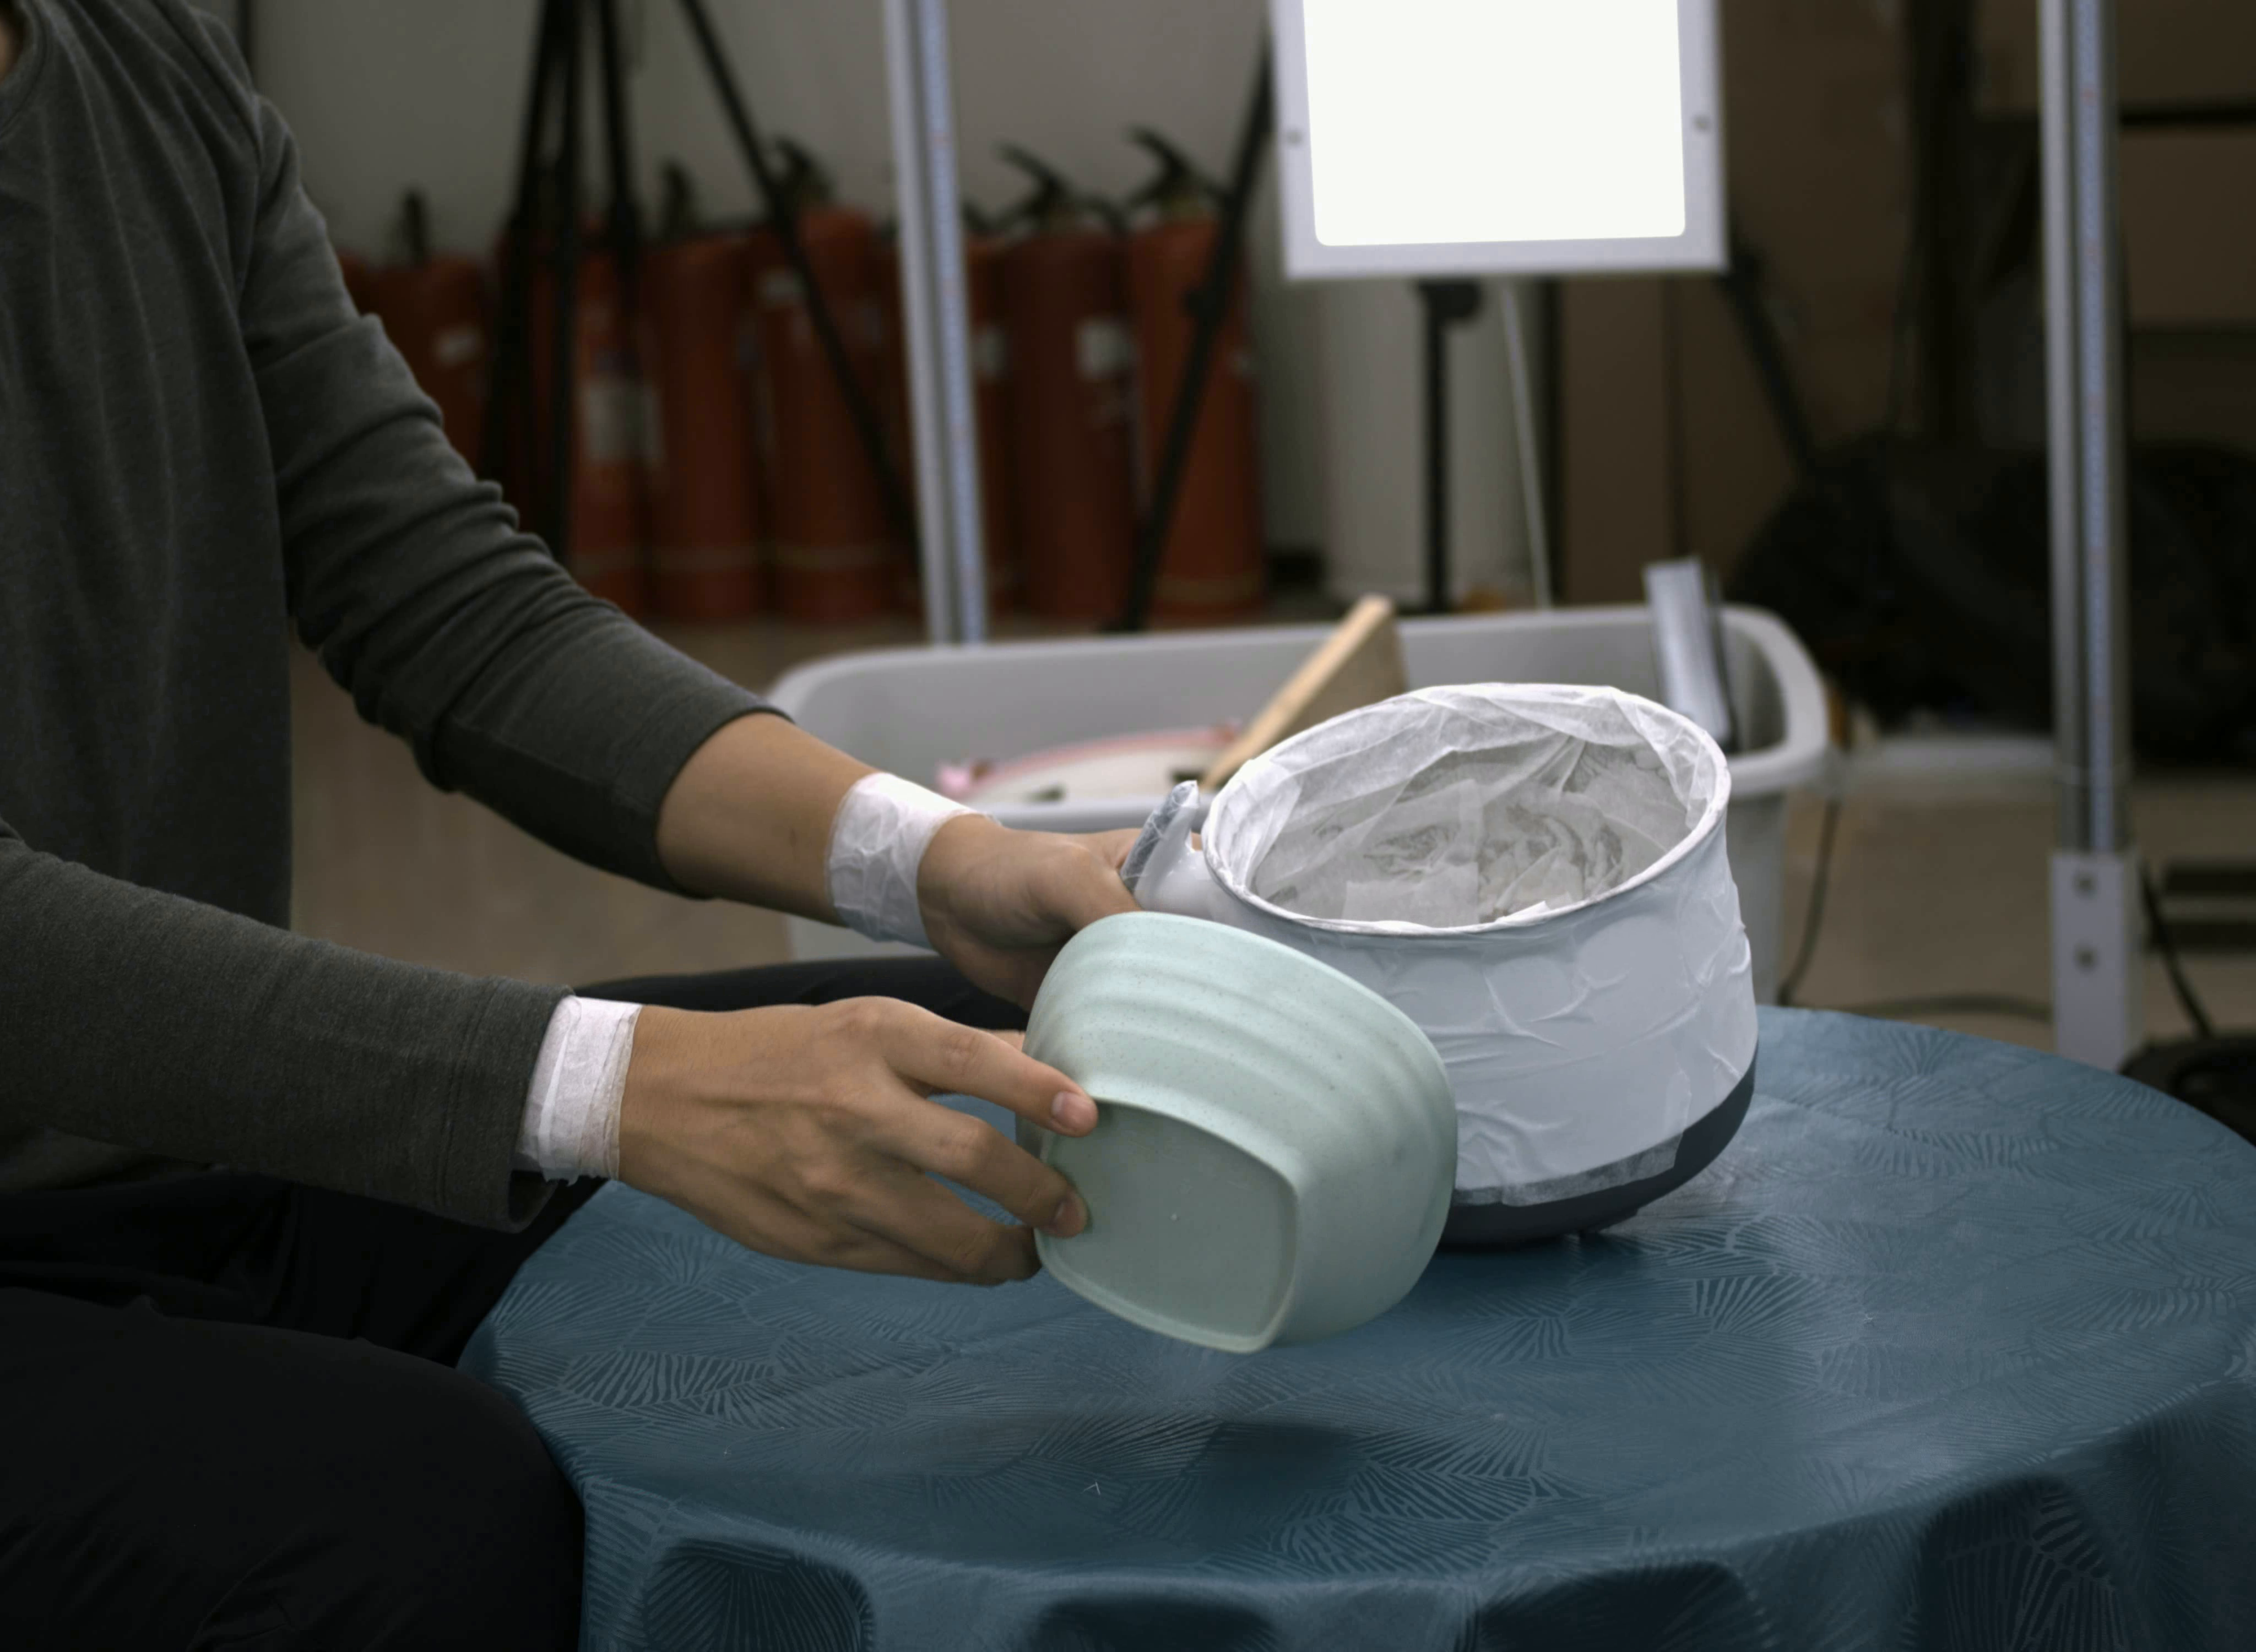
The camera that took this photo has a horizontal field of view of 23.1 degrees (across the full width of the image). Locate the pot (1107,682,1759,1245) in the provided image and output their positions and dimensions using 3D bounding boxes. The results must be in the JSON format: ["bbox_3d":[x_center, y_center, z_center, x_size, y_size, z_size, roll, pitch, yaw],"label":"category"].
[{"bbox_3d":[0.095,0.047,1.855,0.237,0.137,0.176,1,28,21],"label":"pot"}]

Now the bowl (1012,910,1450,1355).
[{"bbox_3d":[0.020,0.101,1.619,0.154,0.151,0.057,4,35,30],"label":"bowl"}]
